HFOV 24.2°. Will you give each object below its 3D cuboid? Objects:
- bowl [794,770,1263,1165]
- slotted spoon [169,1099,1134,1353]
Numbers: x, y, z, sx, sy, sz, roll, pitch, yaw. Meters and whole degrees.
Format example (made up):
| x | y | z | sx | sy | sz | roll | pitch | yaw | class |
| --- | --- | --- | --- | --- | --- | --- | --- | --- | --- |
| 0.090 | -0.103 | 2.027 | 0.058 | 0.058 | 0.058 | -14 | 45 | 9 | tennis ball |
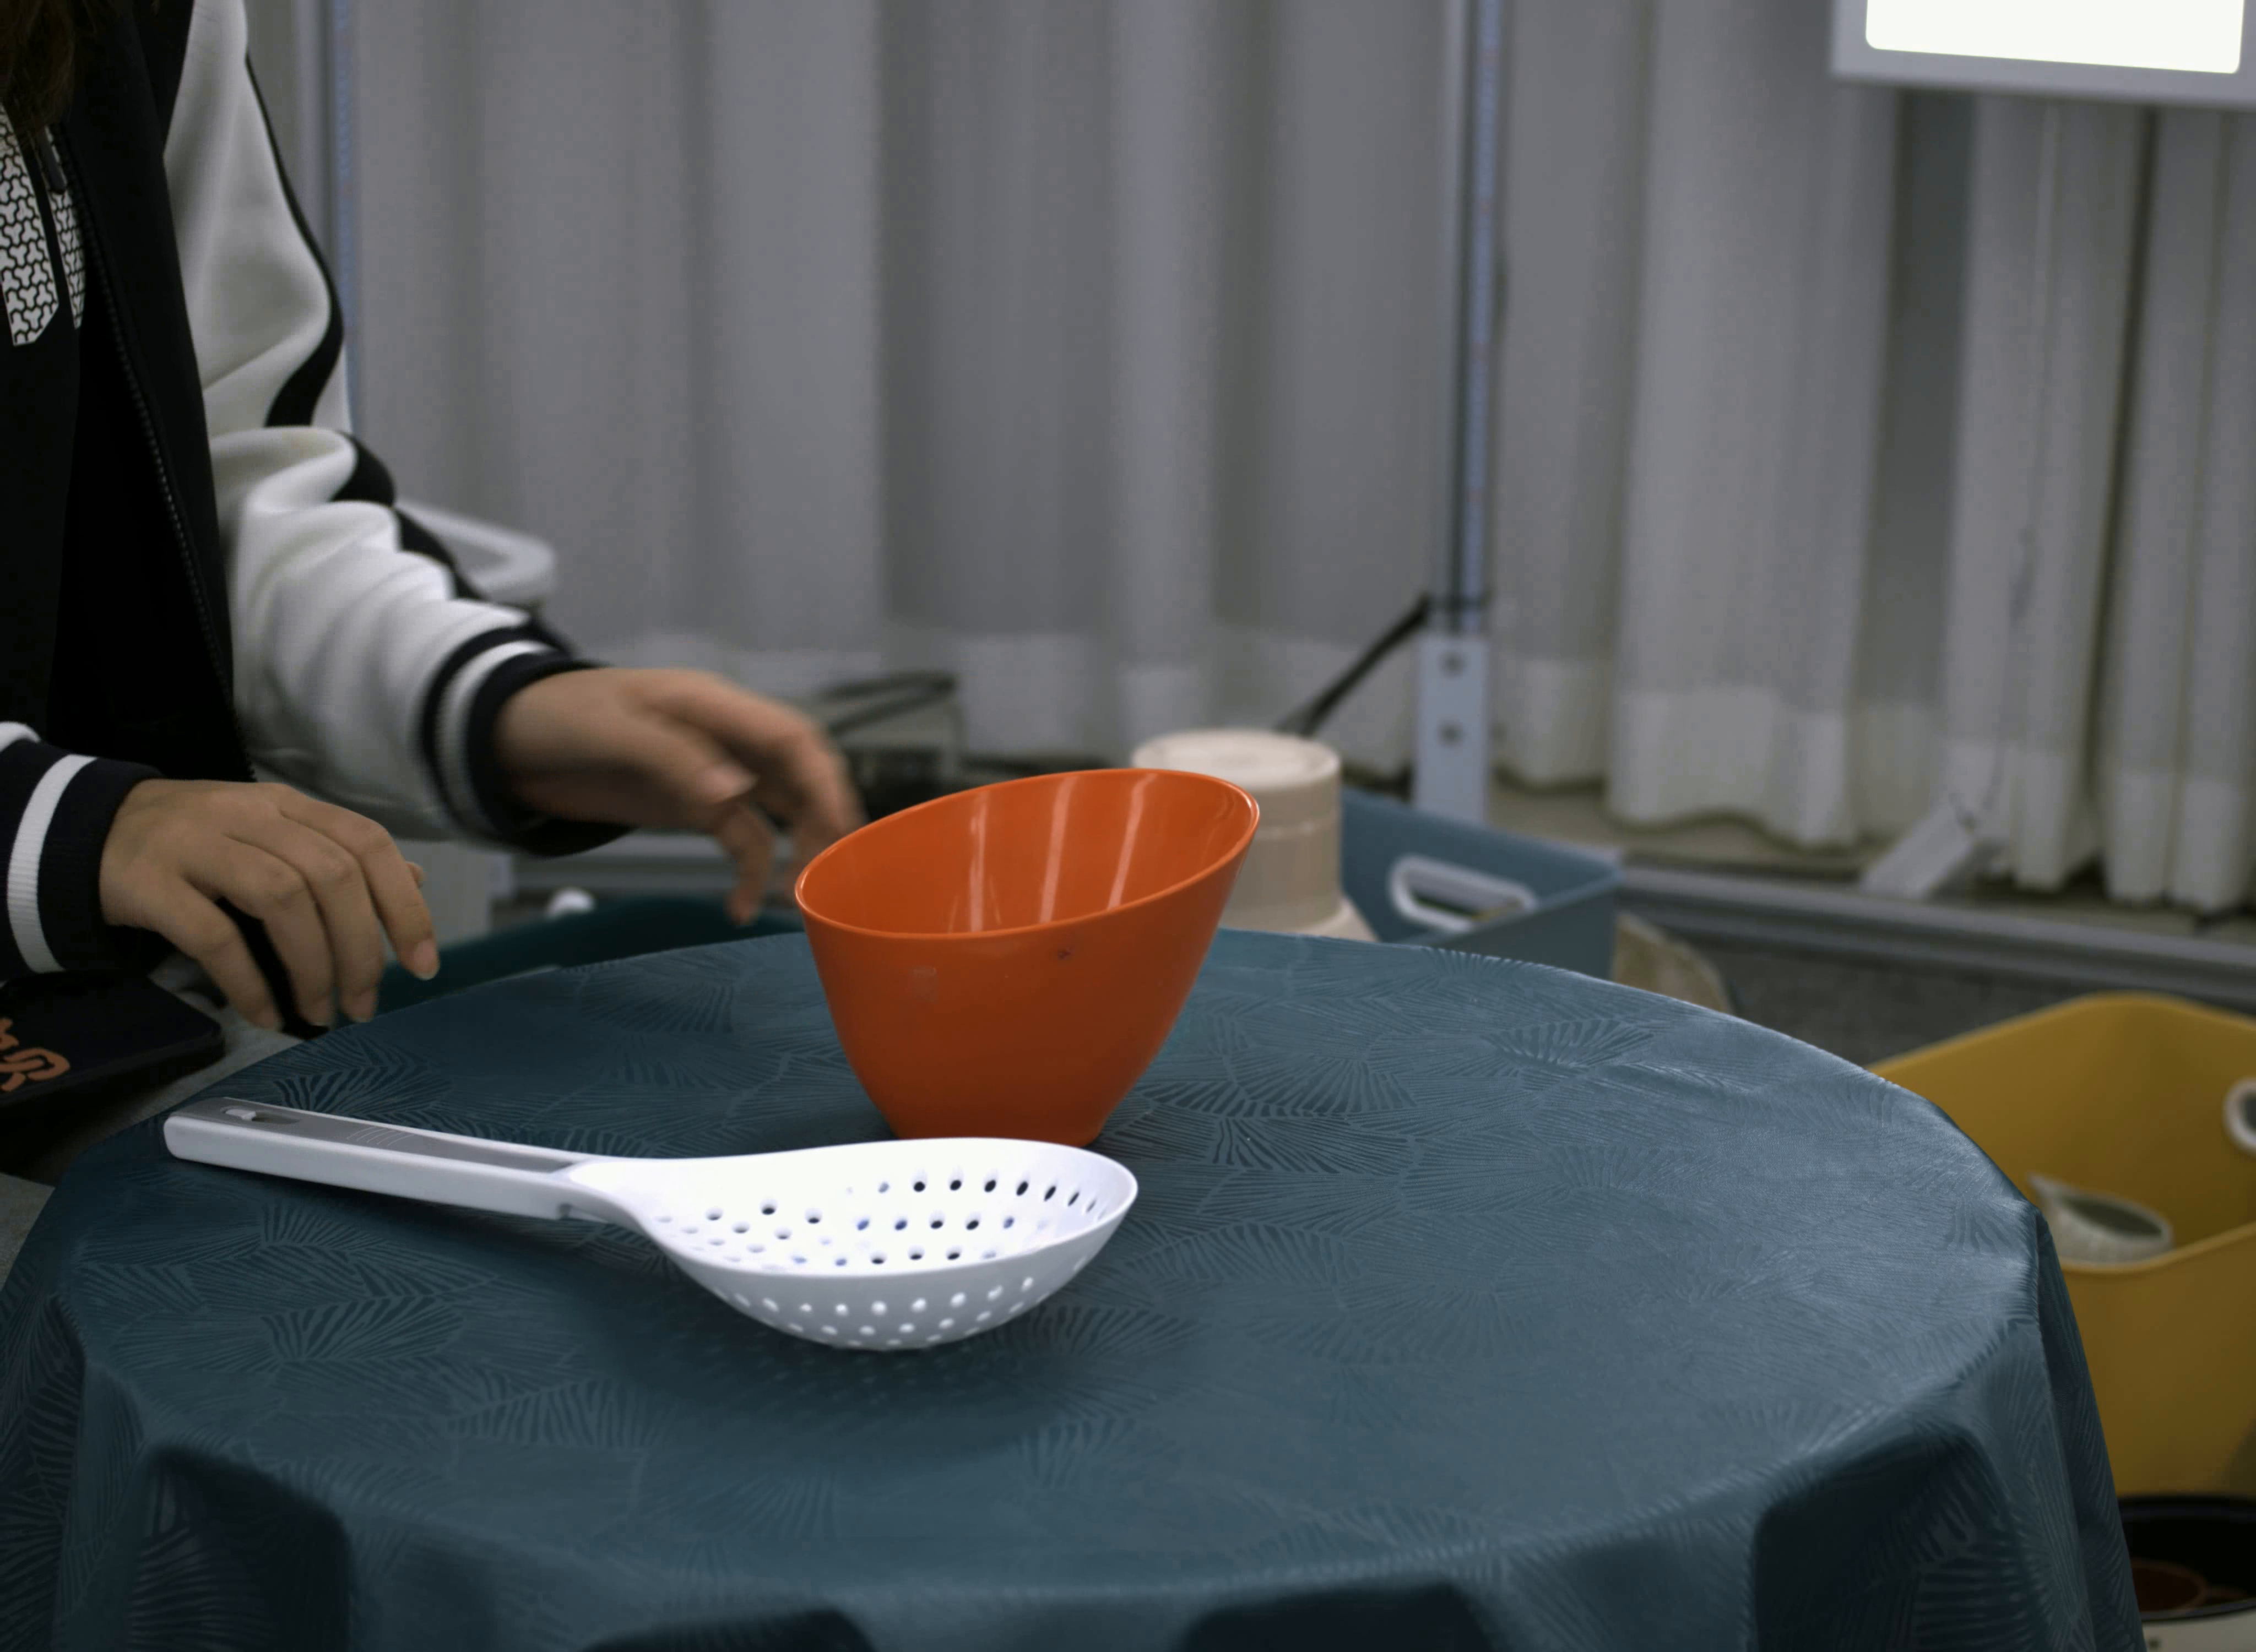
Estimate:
| x | y | z | sx | sy | sz | roll | pitch | yaw | class |
| --- | --- | --- | --- | --- | --- | --- | --- | --- | --- |
| -0.031 | 0.048 | 1.665 | 0.147 | 0.105 | 0.147 | 1 | 18 | 0 | bowl |
| -0.153 | 0.107 | 1.550 | 0.345 | 0.046 | 0.136 | 10 | 18 | 34 | slotted spoon |
